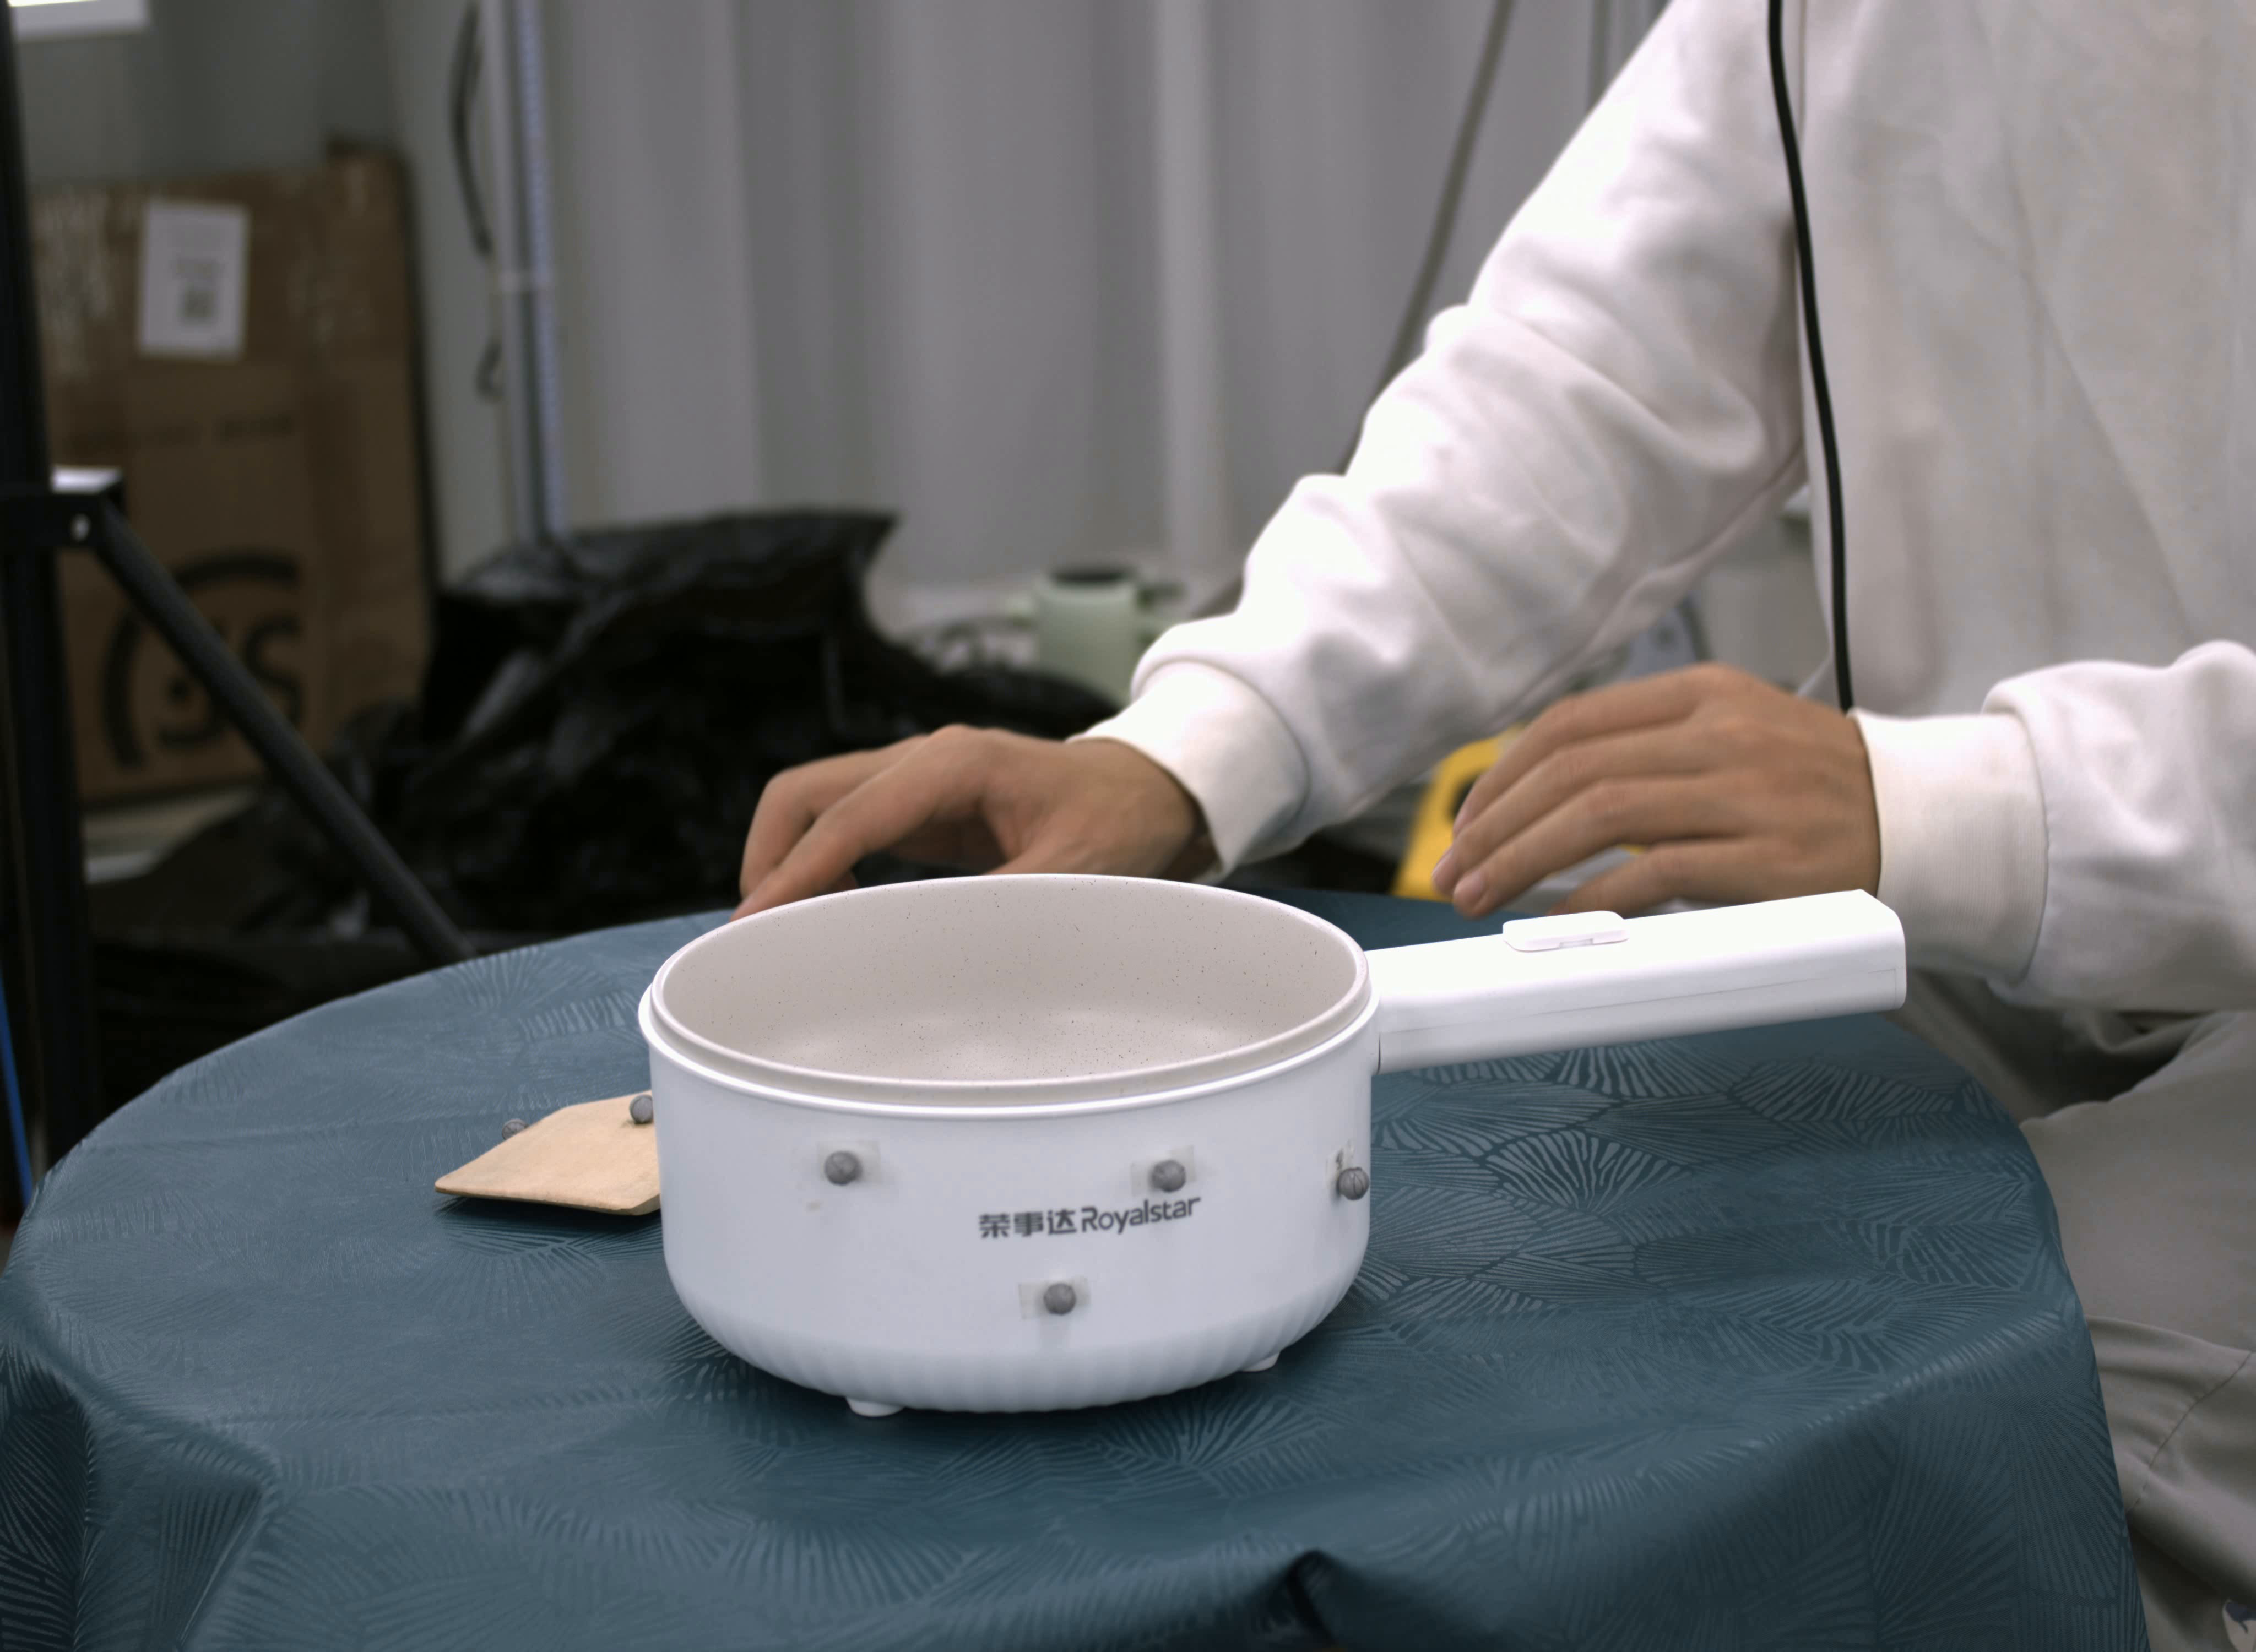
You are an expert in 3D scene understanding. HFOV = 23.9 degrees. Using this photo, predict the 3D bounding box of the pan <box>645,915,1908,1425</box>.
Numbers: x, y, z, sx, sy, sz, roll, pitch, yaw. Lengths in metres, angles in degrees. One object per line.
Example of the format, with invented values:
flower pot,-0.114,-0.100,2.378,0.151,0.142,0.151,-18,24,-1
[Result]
pan,0.043,0.091,1.466,0.349,0.102,0.204,-3,11,-13
